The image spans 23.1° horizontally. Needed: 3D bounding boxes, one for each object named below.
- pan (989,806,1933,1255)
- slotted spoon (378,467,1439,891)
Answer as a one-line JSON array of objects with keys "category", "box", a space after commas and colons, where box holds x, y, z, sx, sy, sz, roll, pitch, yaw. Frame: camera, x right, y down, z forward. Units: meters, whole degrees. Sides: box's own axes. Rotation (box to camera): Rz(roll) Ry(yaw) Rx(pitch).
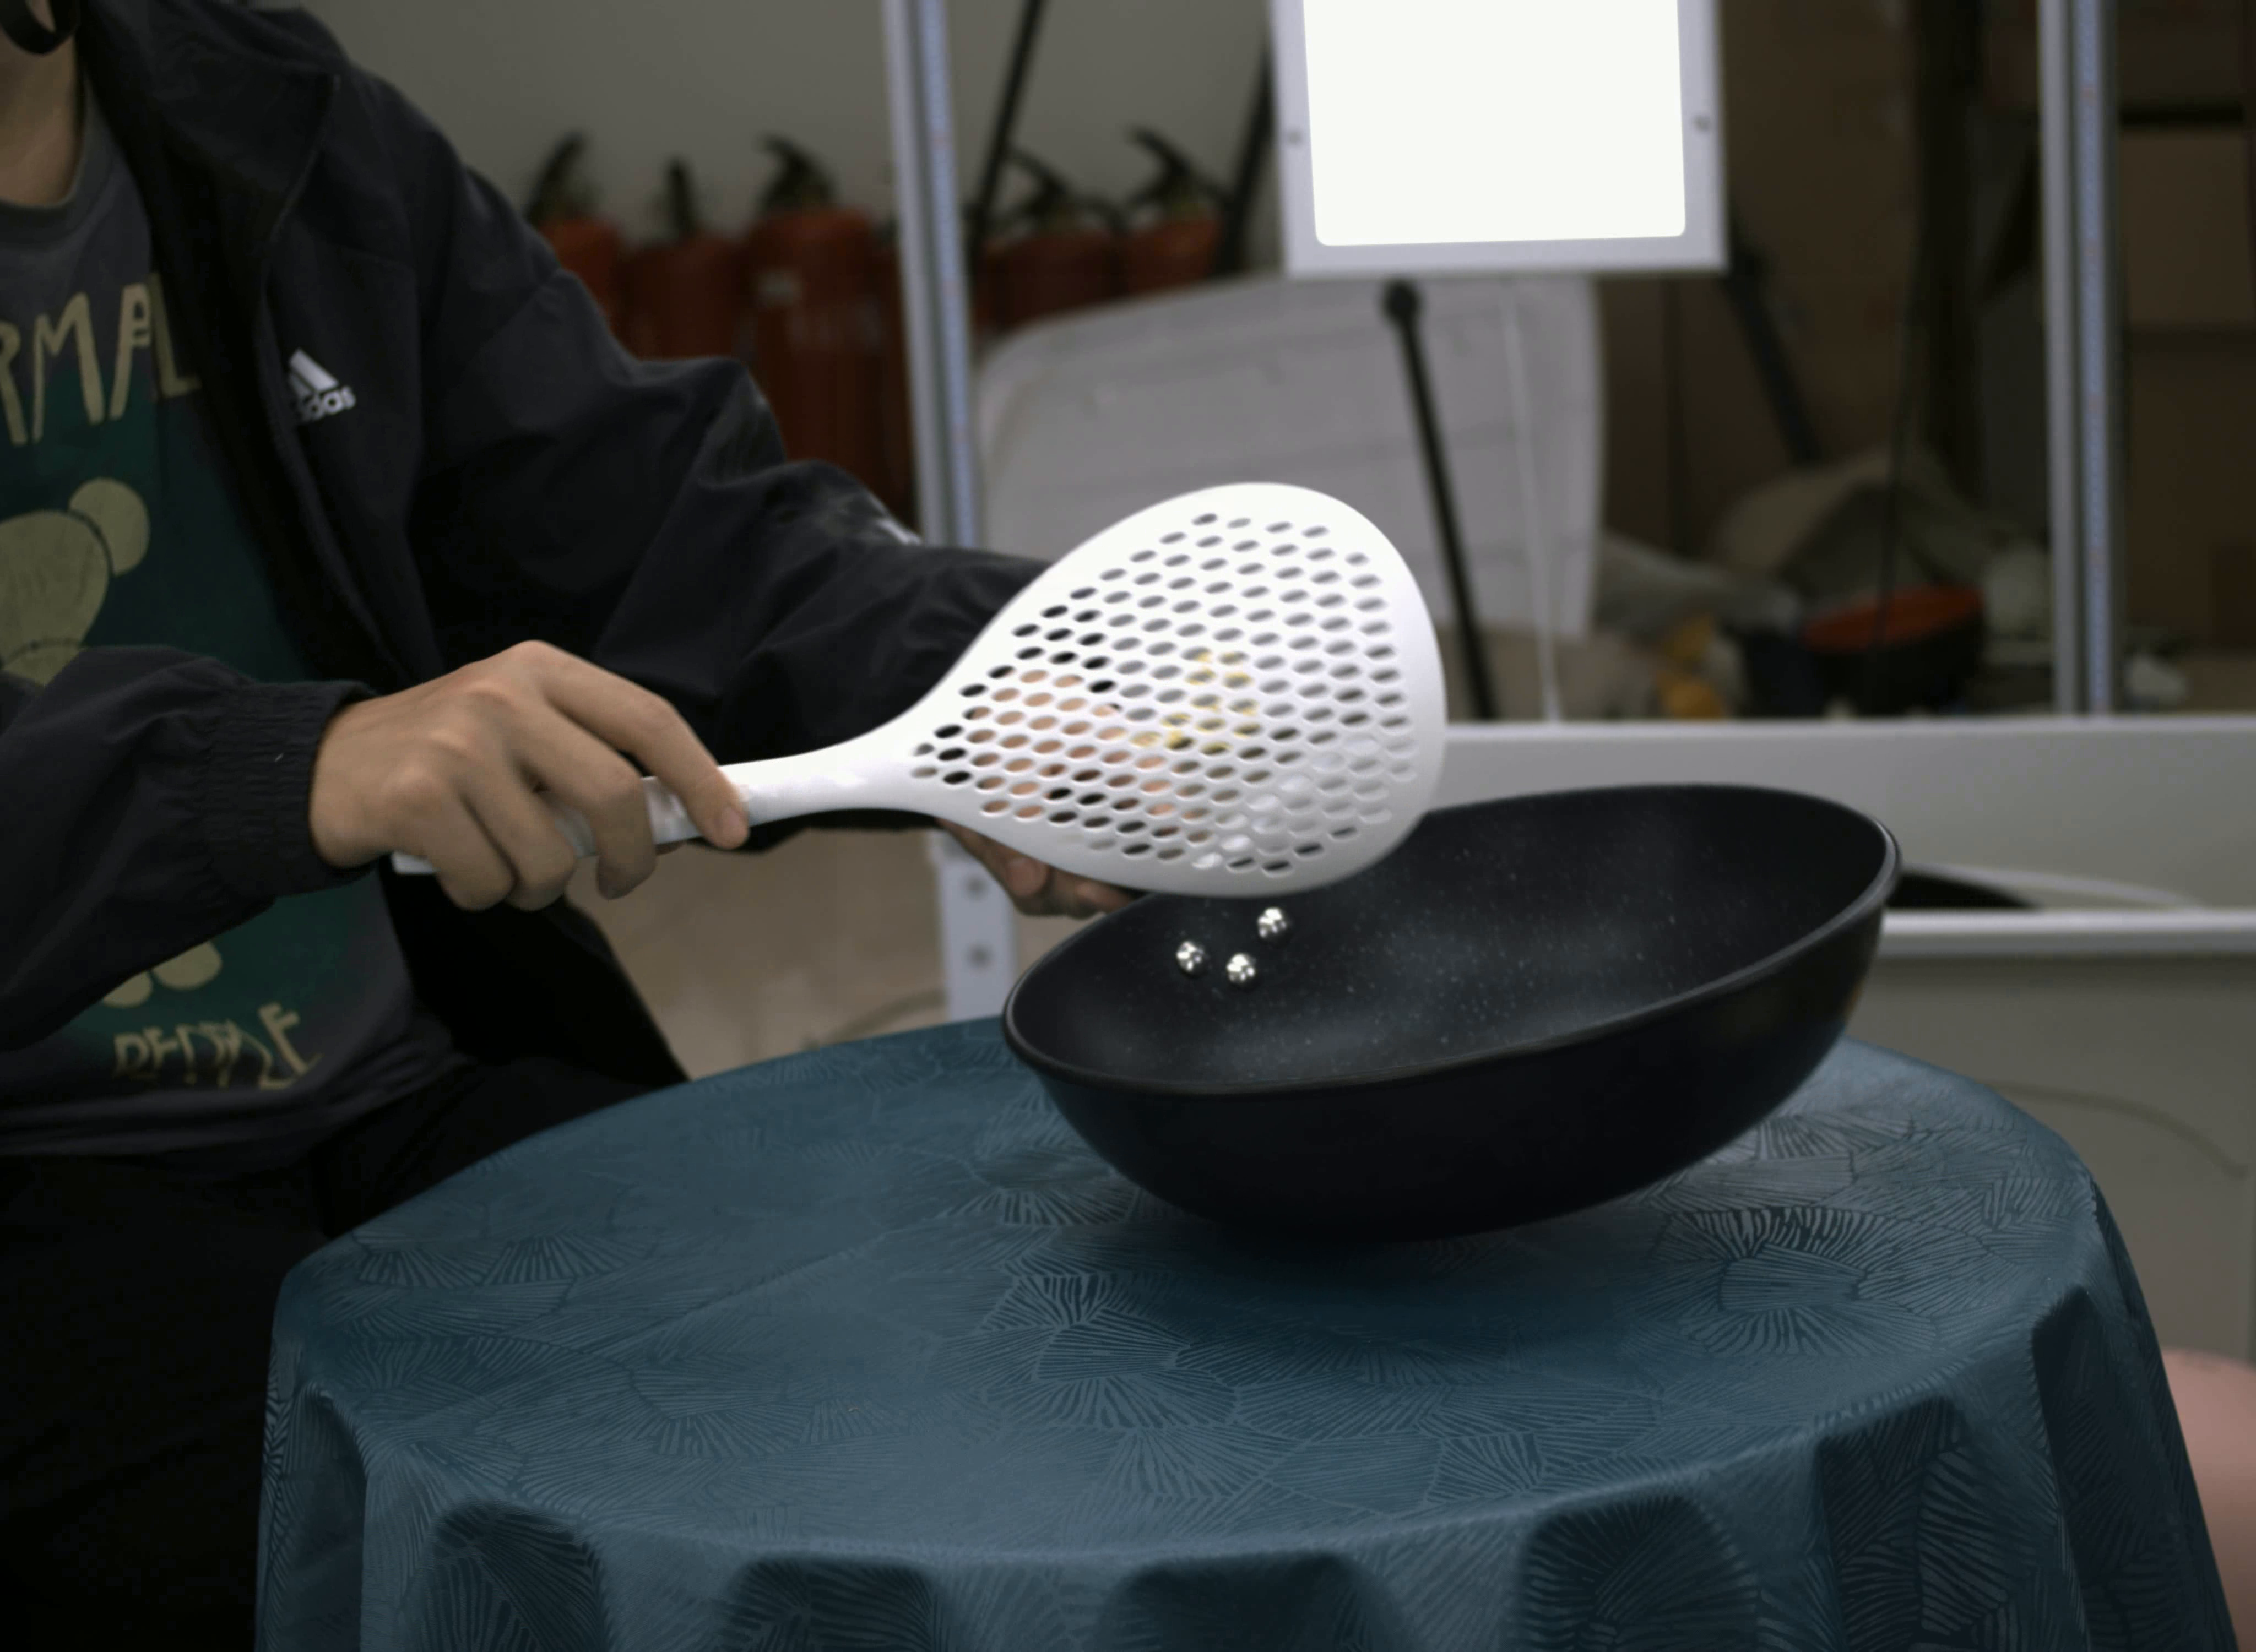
[{"category": "pan", "box": [0.077, 0.055, 1.924, 0.303, 0.112, 0.486, -18, 16, -28]}, {"category": "slotted spoon", "box": [-0.072, -0.024, 1.793, 0.350, 0.137, 0.050, -12, 3, 11]}]
